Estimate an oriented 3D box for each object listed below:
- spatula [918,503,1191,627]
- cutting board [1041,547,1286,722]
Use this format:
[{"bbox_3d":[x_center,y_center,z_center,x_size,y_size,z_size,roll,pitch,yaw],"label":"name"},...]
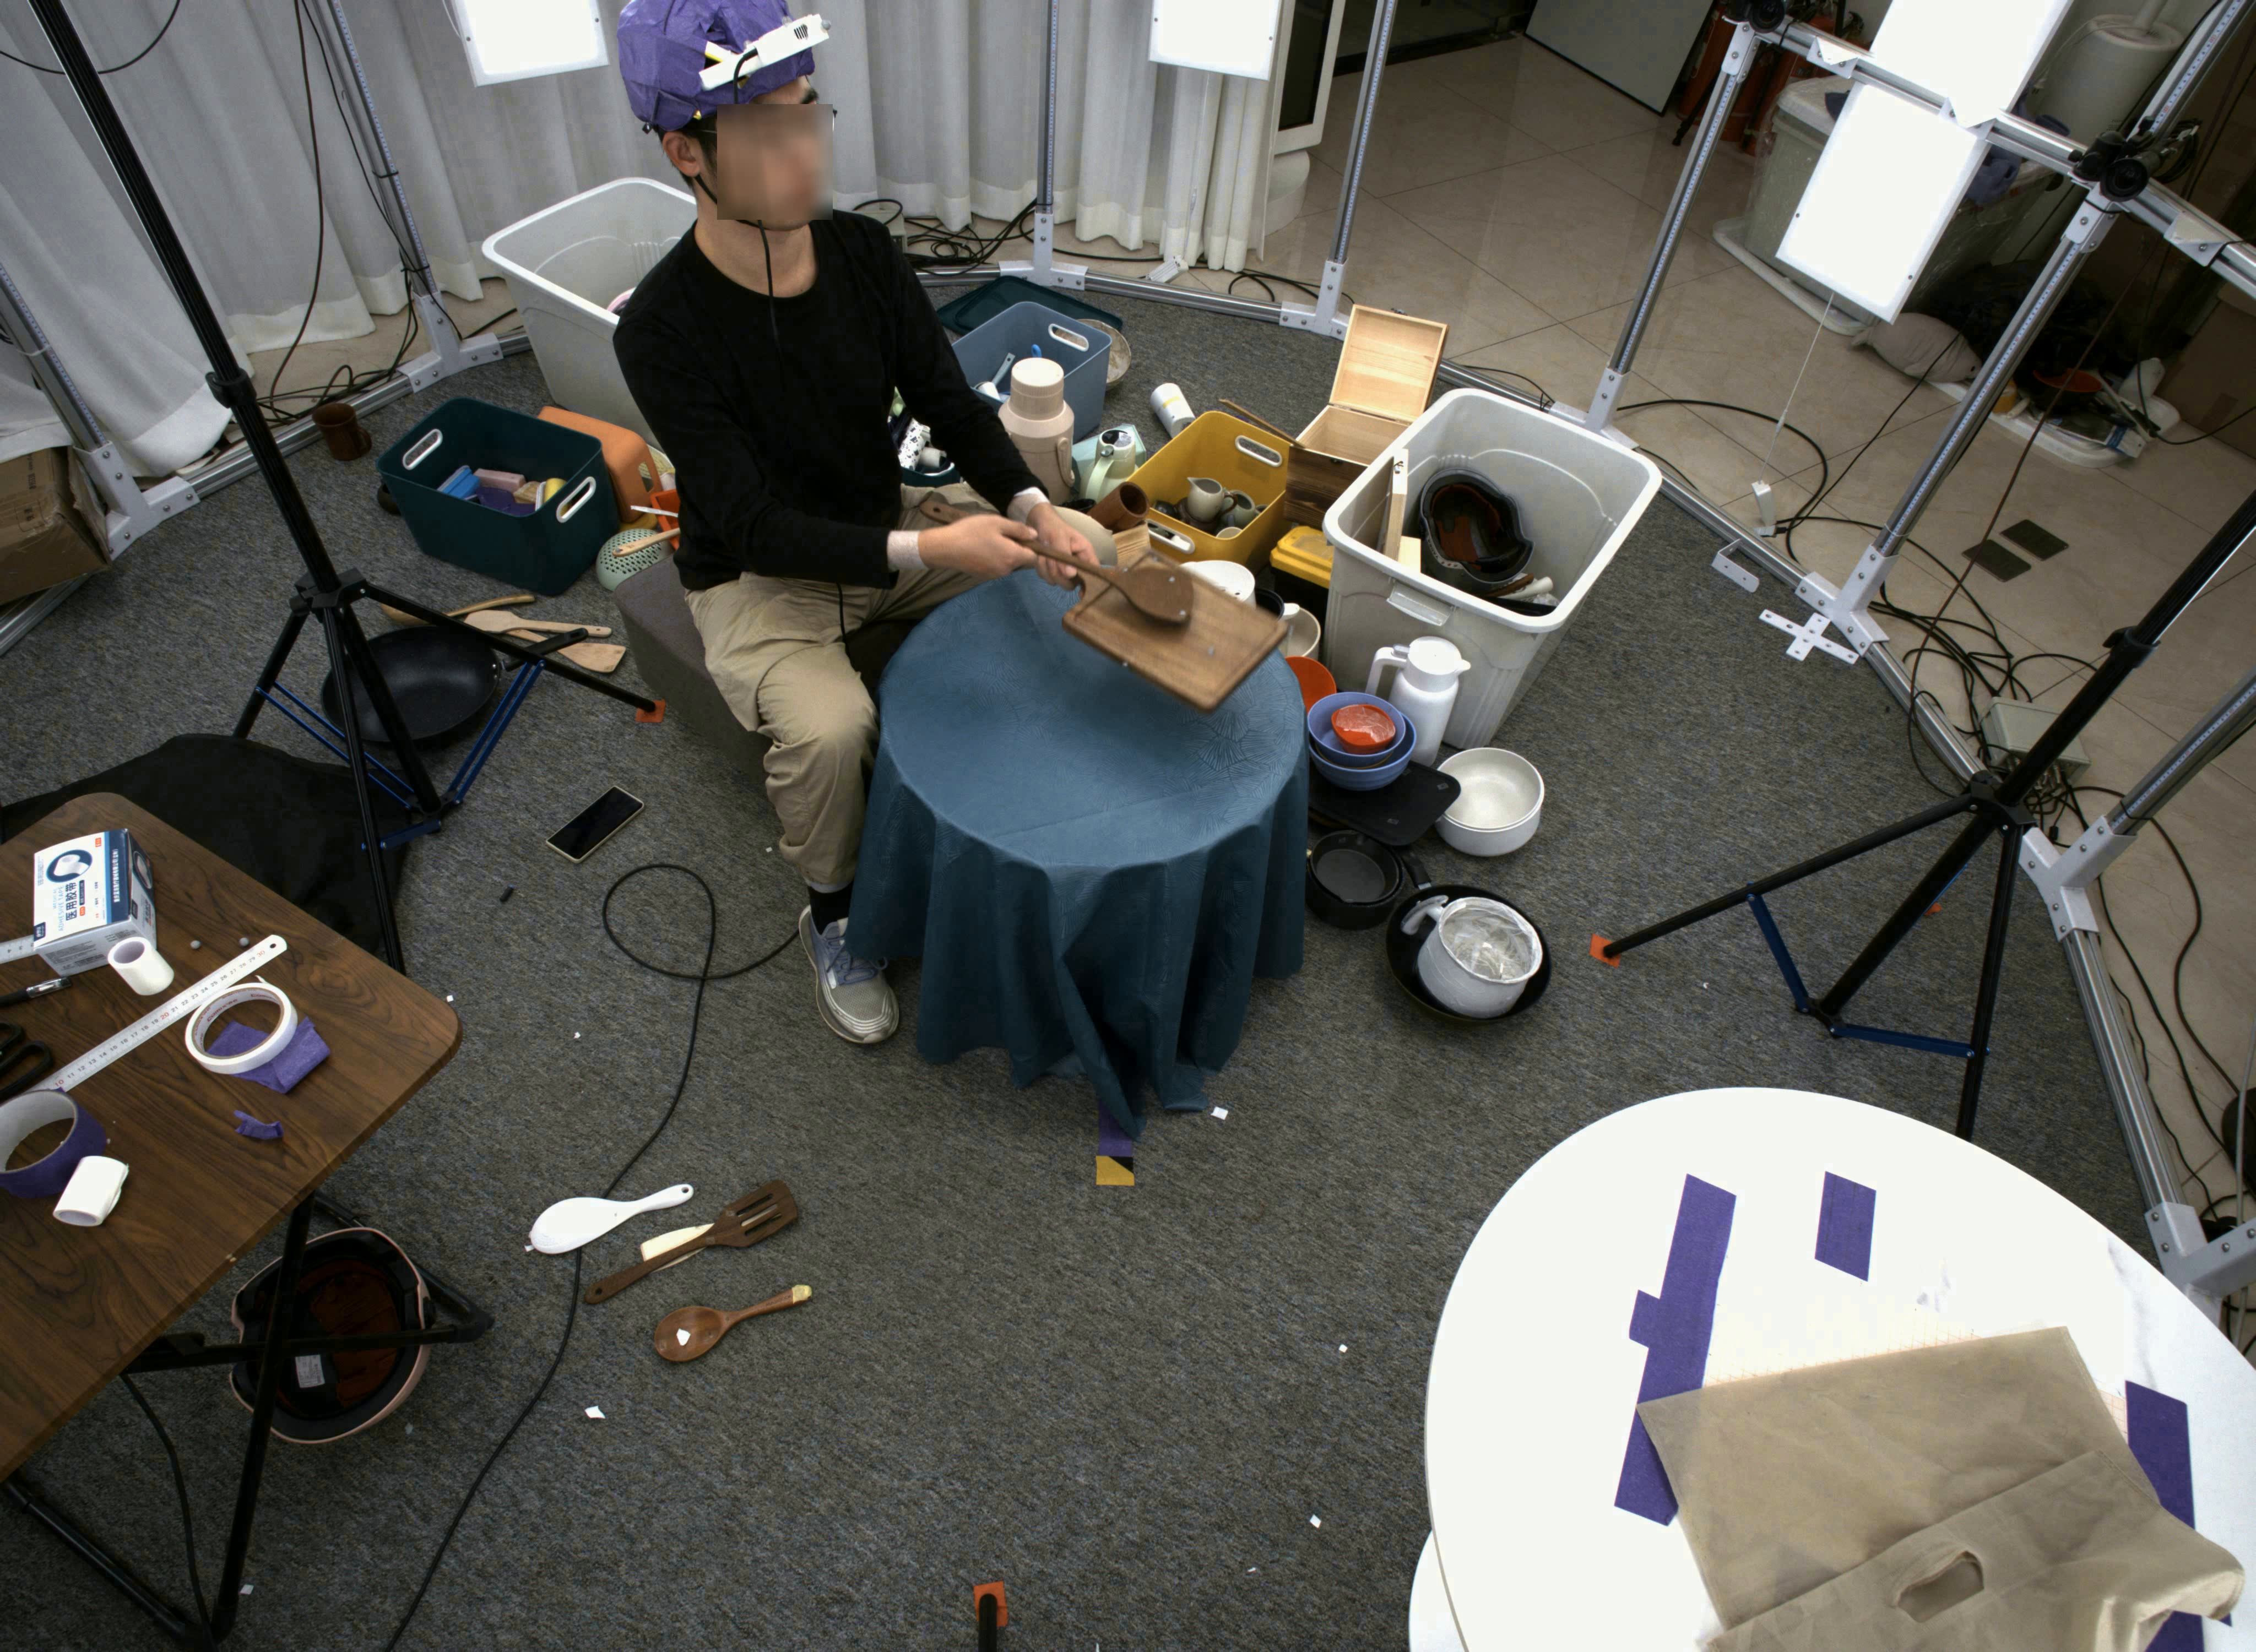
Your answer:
[{"bbox_3d":[-0.094,-0.358,1.727,0.384,0.015,0.098,19,53,-10],"label":"spatula"},{"bbox_3d":[0.024,-0.292,1.774,0.356,0.022,0.203,34,57,18],"label":"cutting board"}]
